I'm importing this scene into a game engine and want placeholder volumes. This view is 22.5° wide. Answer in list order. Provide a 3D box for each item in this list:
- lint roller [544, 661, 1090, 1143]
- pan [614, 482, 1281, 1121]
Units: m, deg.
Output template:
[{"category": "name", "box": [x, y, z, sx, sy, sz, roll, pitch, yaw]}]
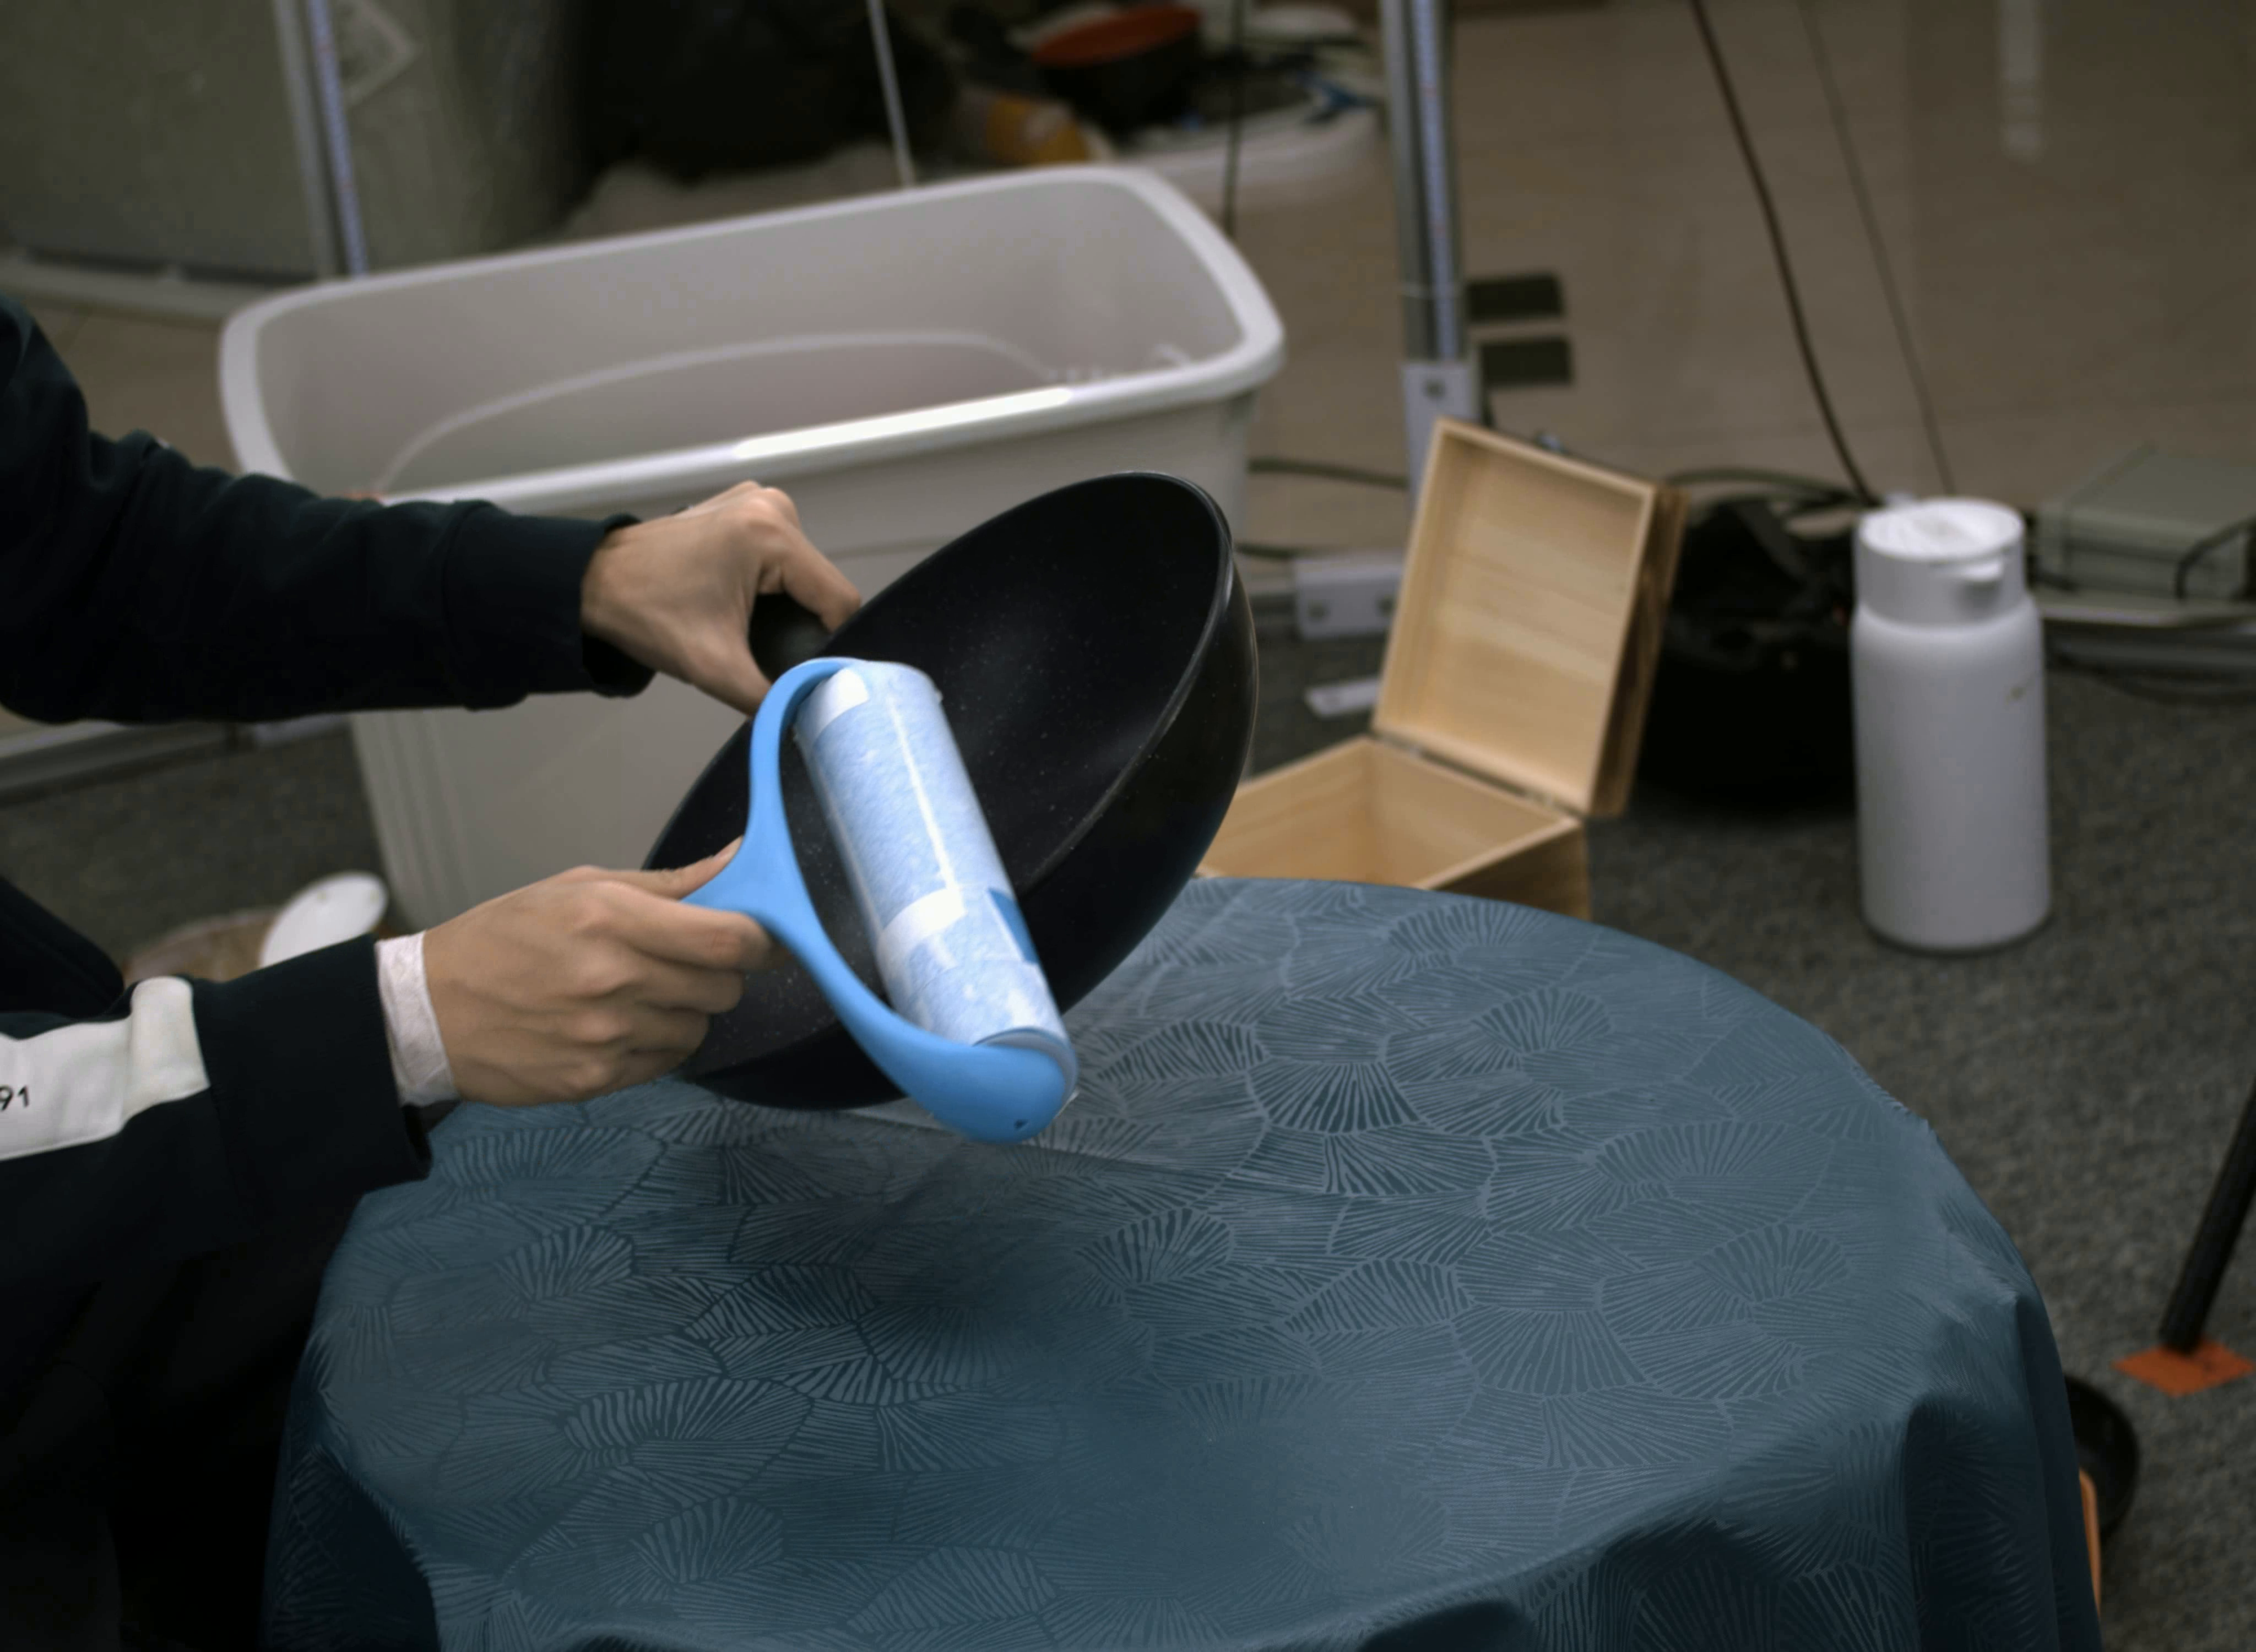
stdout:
[{"category": "lint roller", "box": [-0.123, 0.043, 1.991, 0.180, 0.069, 0.225, -20, 50, -8]}, {"category": "pan", "box": [-0.087, -0.025, 2.234, 0.310, 0.113, 0.471, -43, 26, -2]}]
